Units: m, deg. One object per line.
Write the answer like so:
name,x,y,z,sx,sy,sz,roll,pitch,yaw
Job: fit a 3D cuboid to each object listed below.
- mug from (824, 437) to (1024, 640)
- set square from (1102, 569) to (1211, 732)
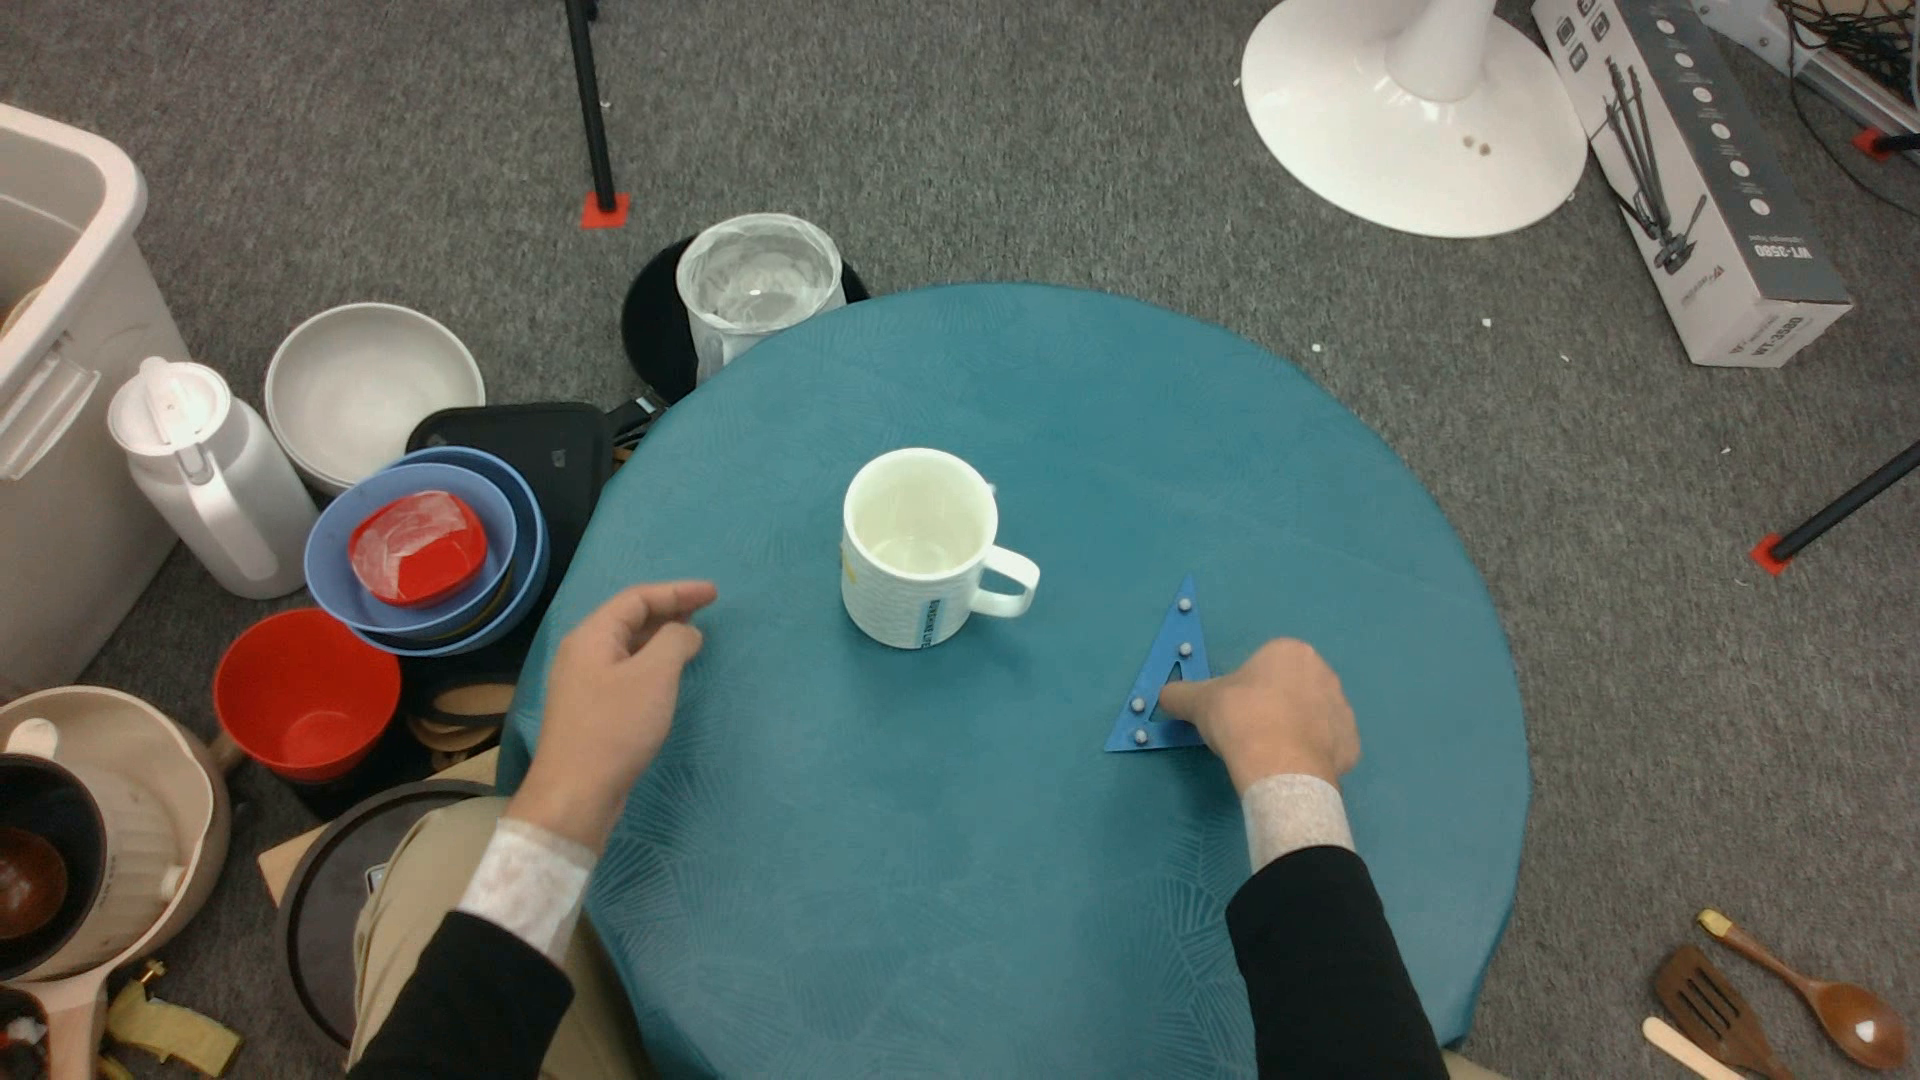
mug,-0.022,0.008,0.806,0.118,0.101,0.085,21,61,4
set square,0.141,0.074,0.840,0.061,0.006,0.132,24,60,21
